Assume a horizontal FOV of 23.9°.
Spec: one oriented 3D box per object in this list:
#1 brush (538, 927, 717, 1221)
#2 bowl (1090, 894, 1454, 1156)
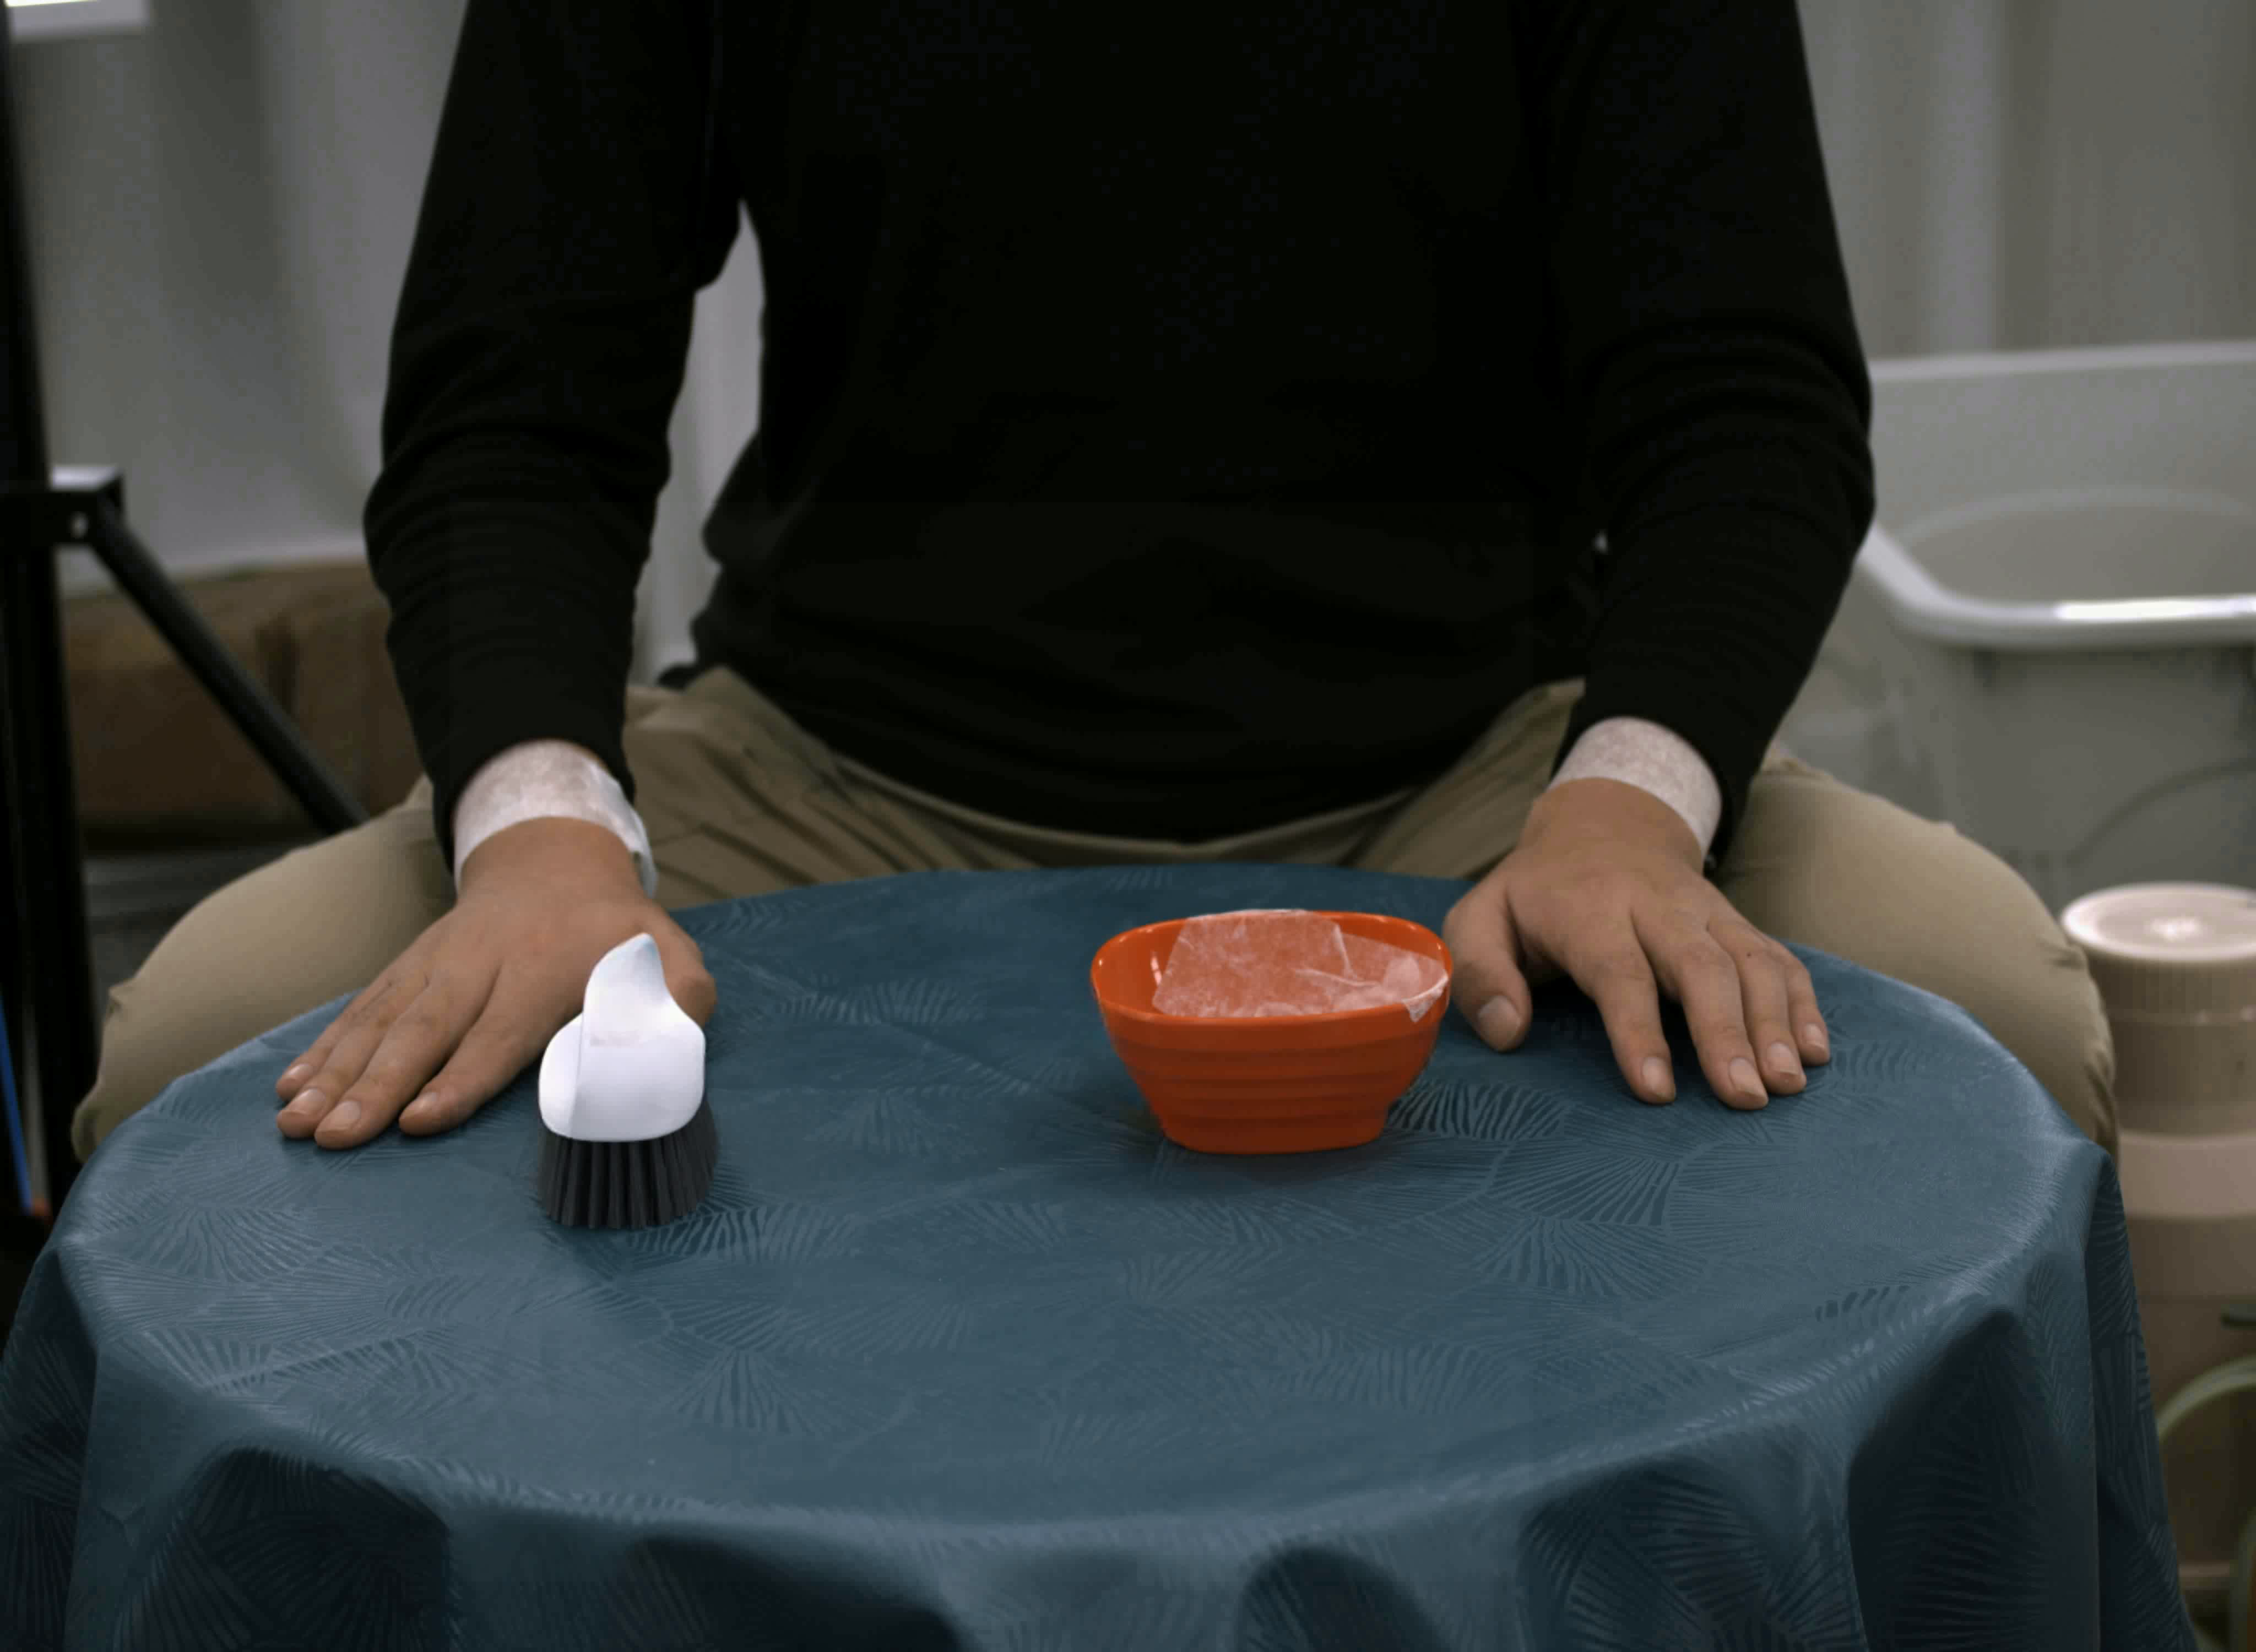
[{"bbox_3d":[-0.150,0.069,1.586,0.050,0.072,0.099,-2,15,2],"label":"brush"},{"bbox_3d":[0.045,0.063,1.608,0.118,0.051,0.119,-5,20,0],"label":"bowl"}]
